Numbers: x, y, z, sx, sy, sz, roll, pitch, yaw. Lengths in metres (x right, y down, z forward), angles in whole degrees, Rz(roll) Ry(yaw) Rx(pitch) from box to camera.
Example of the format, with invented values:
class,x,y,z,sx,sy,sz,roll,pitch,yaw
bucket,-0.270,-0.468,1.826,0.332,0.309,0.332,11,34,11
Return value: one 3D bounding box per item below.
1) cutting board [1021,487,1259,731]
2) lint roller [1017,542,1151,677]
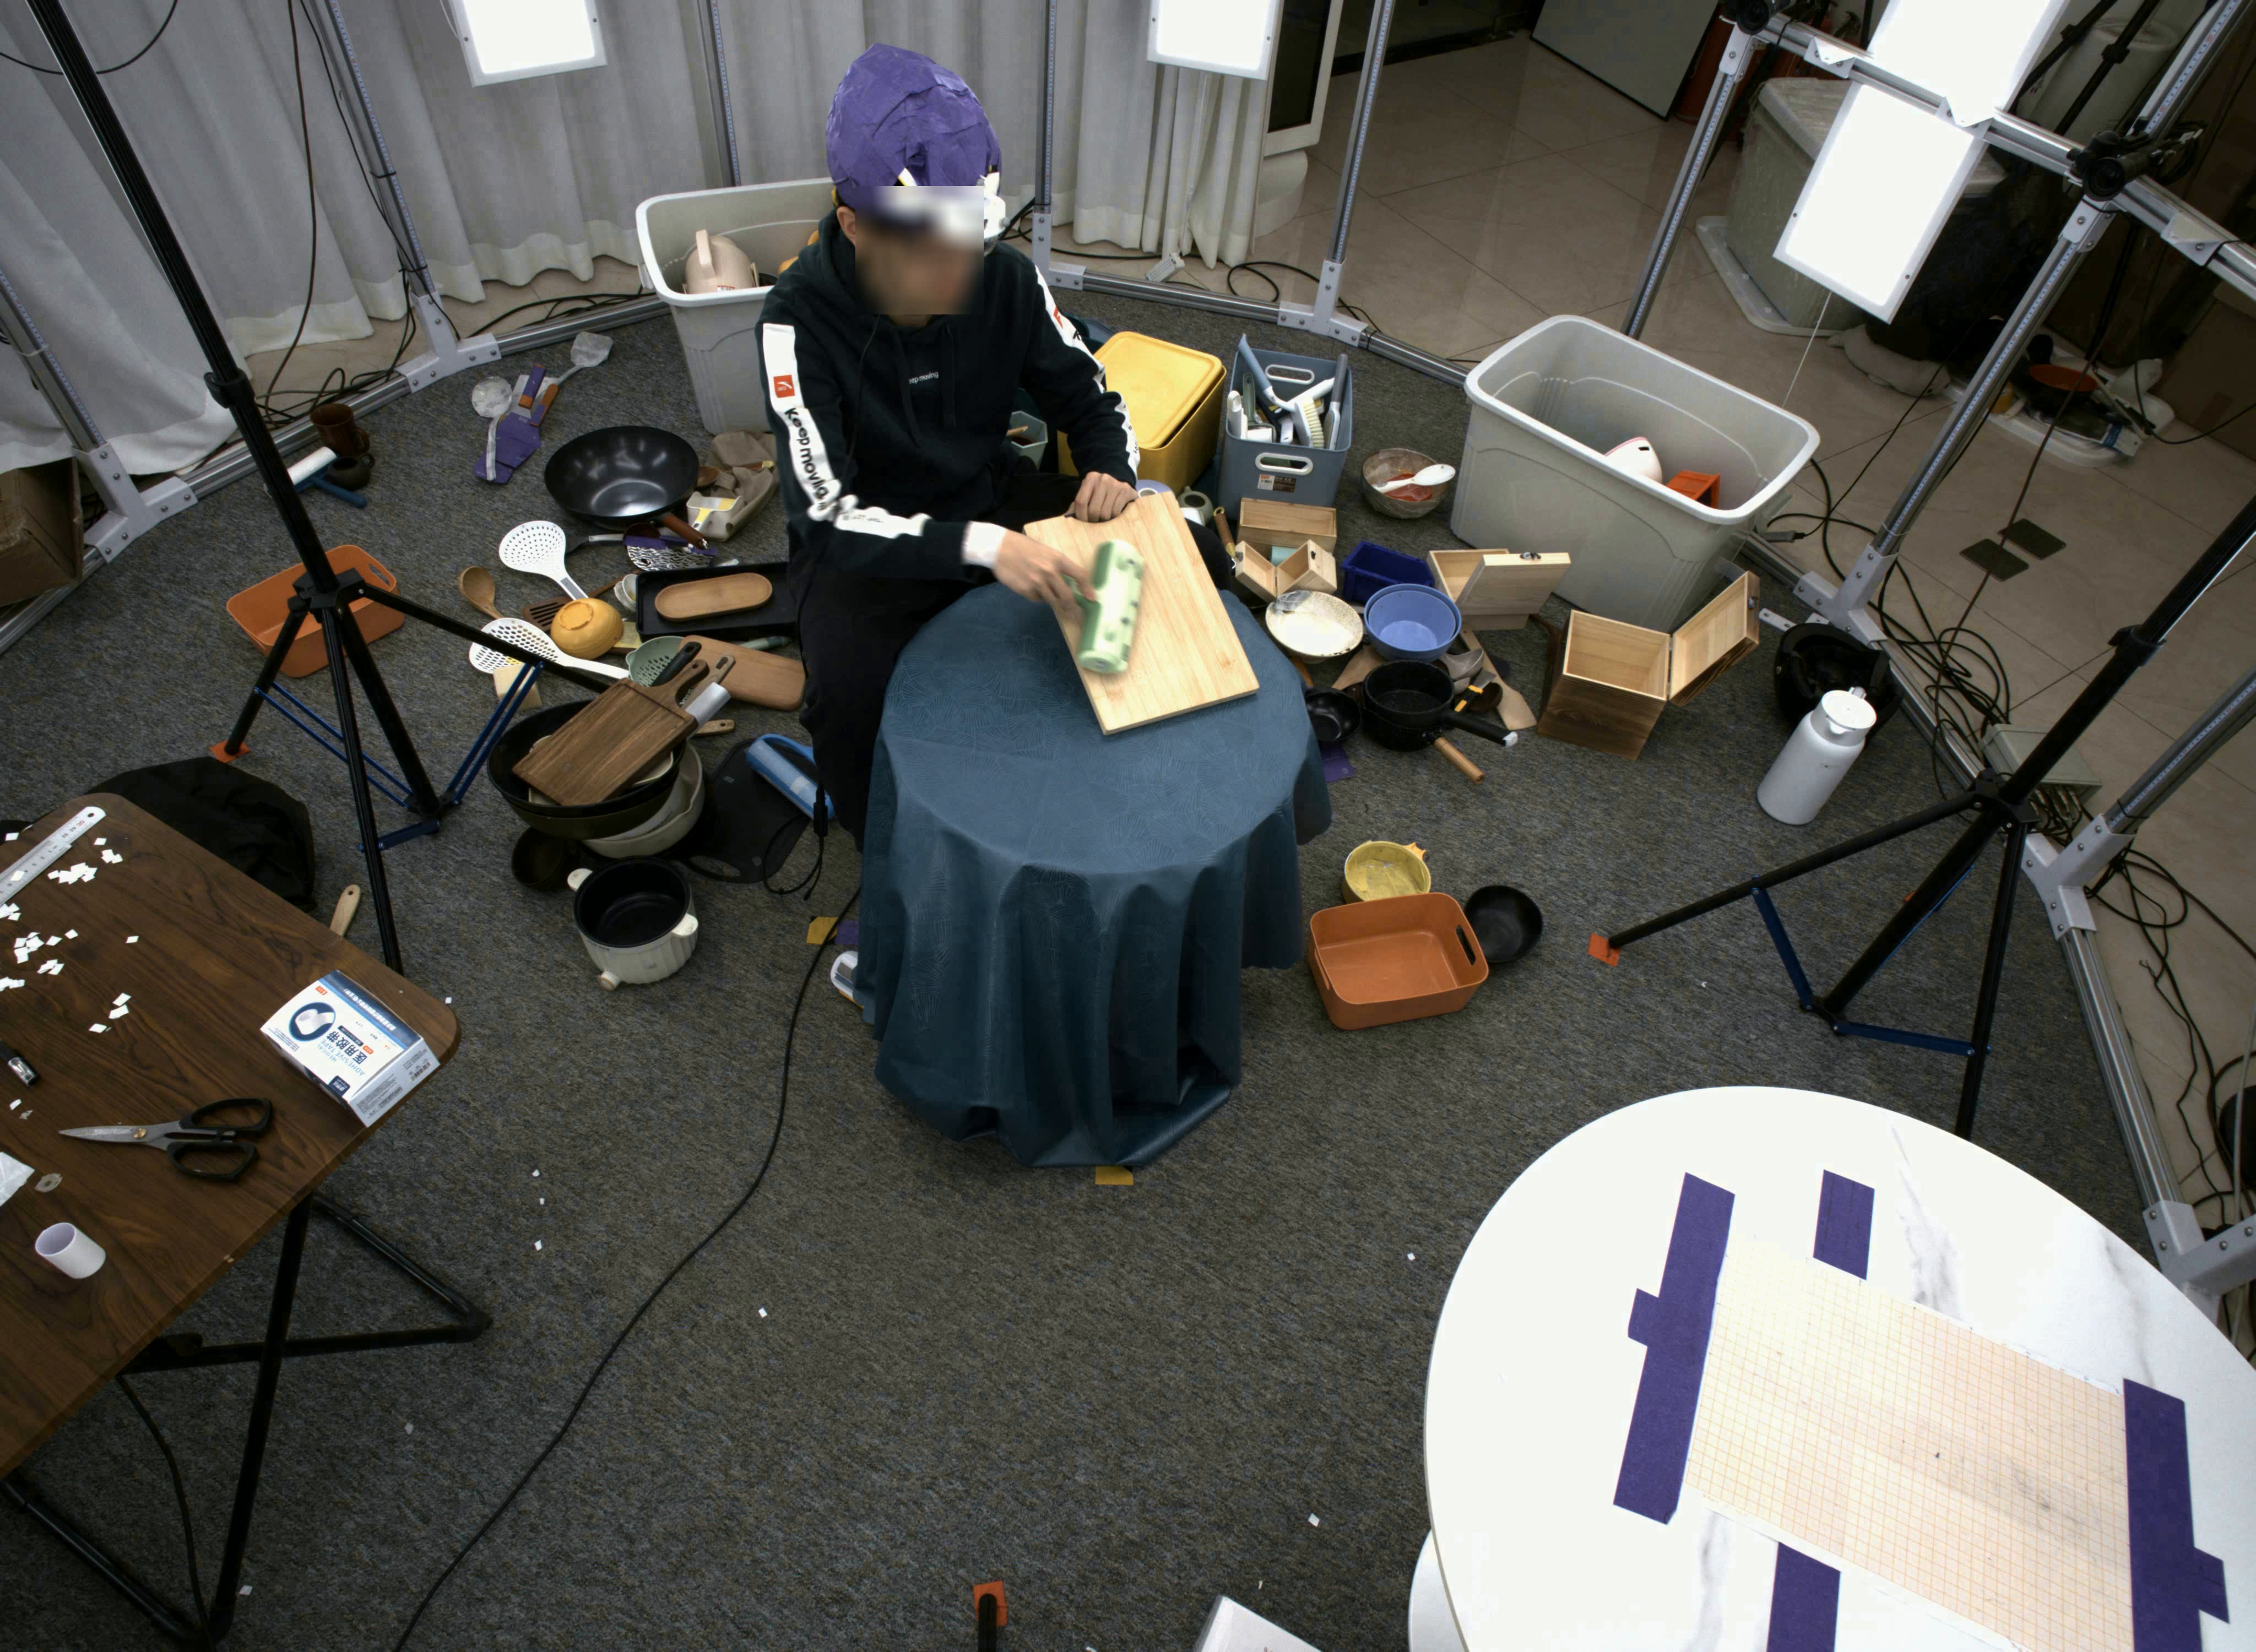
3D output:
class,x,y,z,sx,sy,sz,roll,pitch,yaw
cutting board,0.015,-0.318,1.857,0.251,0.023,0.353,-17,72,-18
lint roller,-0.059,-0.325,1.773,0.181,0.081,0.202,23,63,-26
